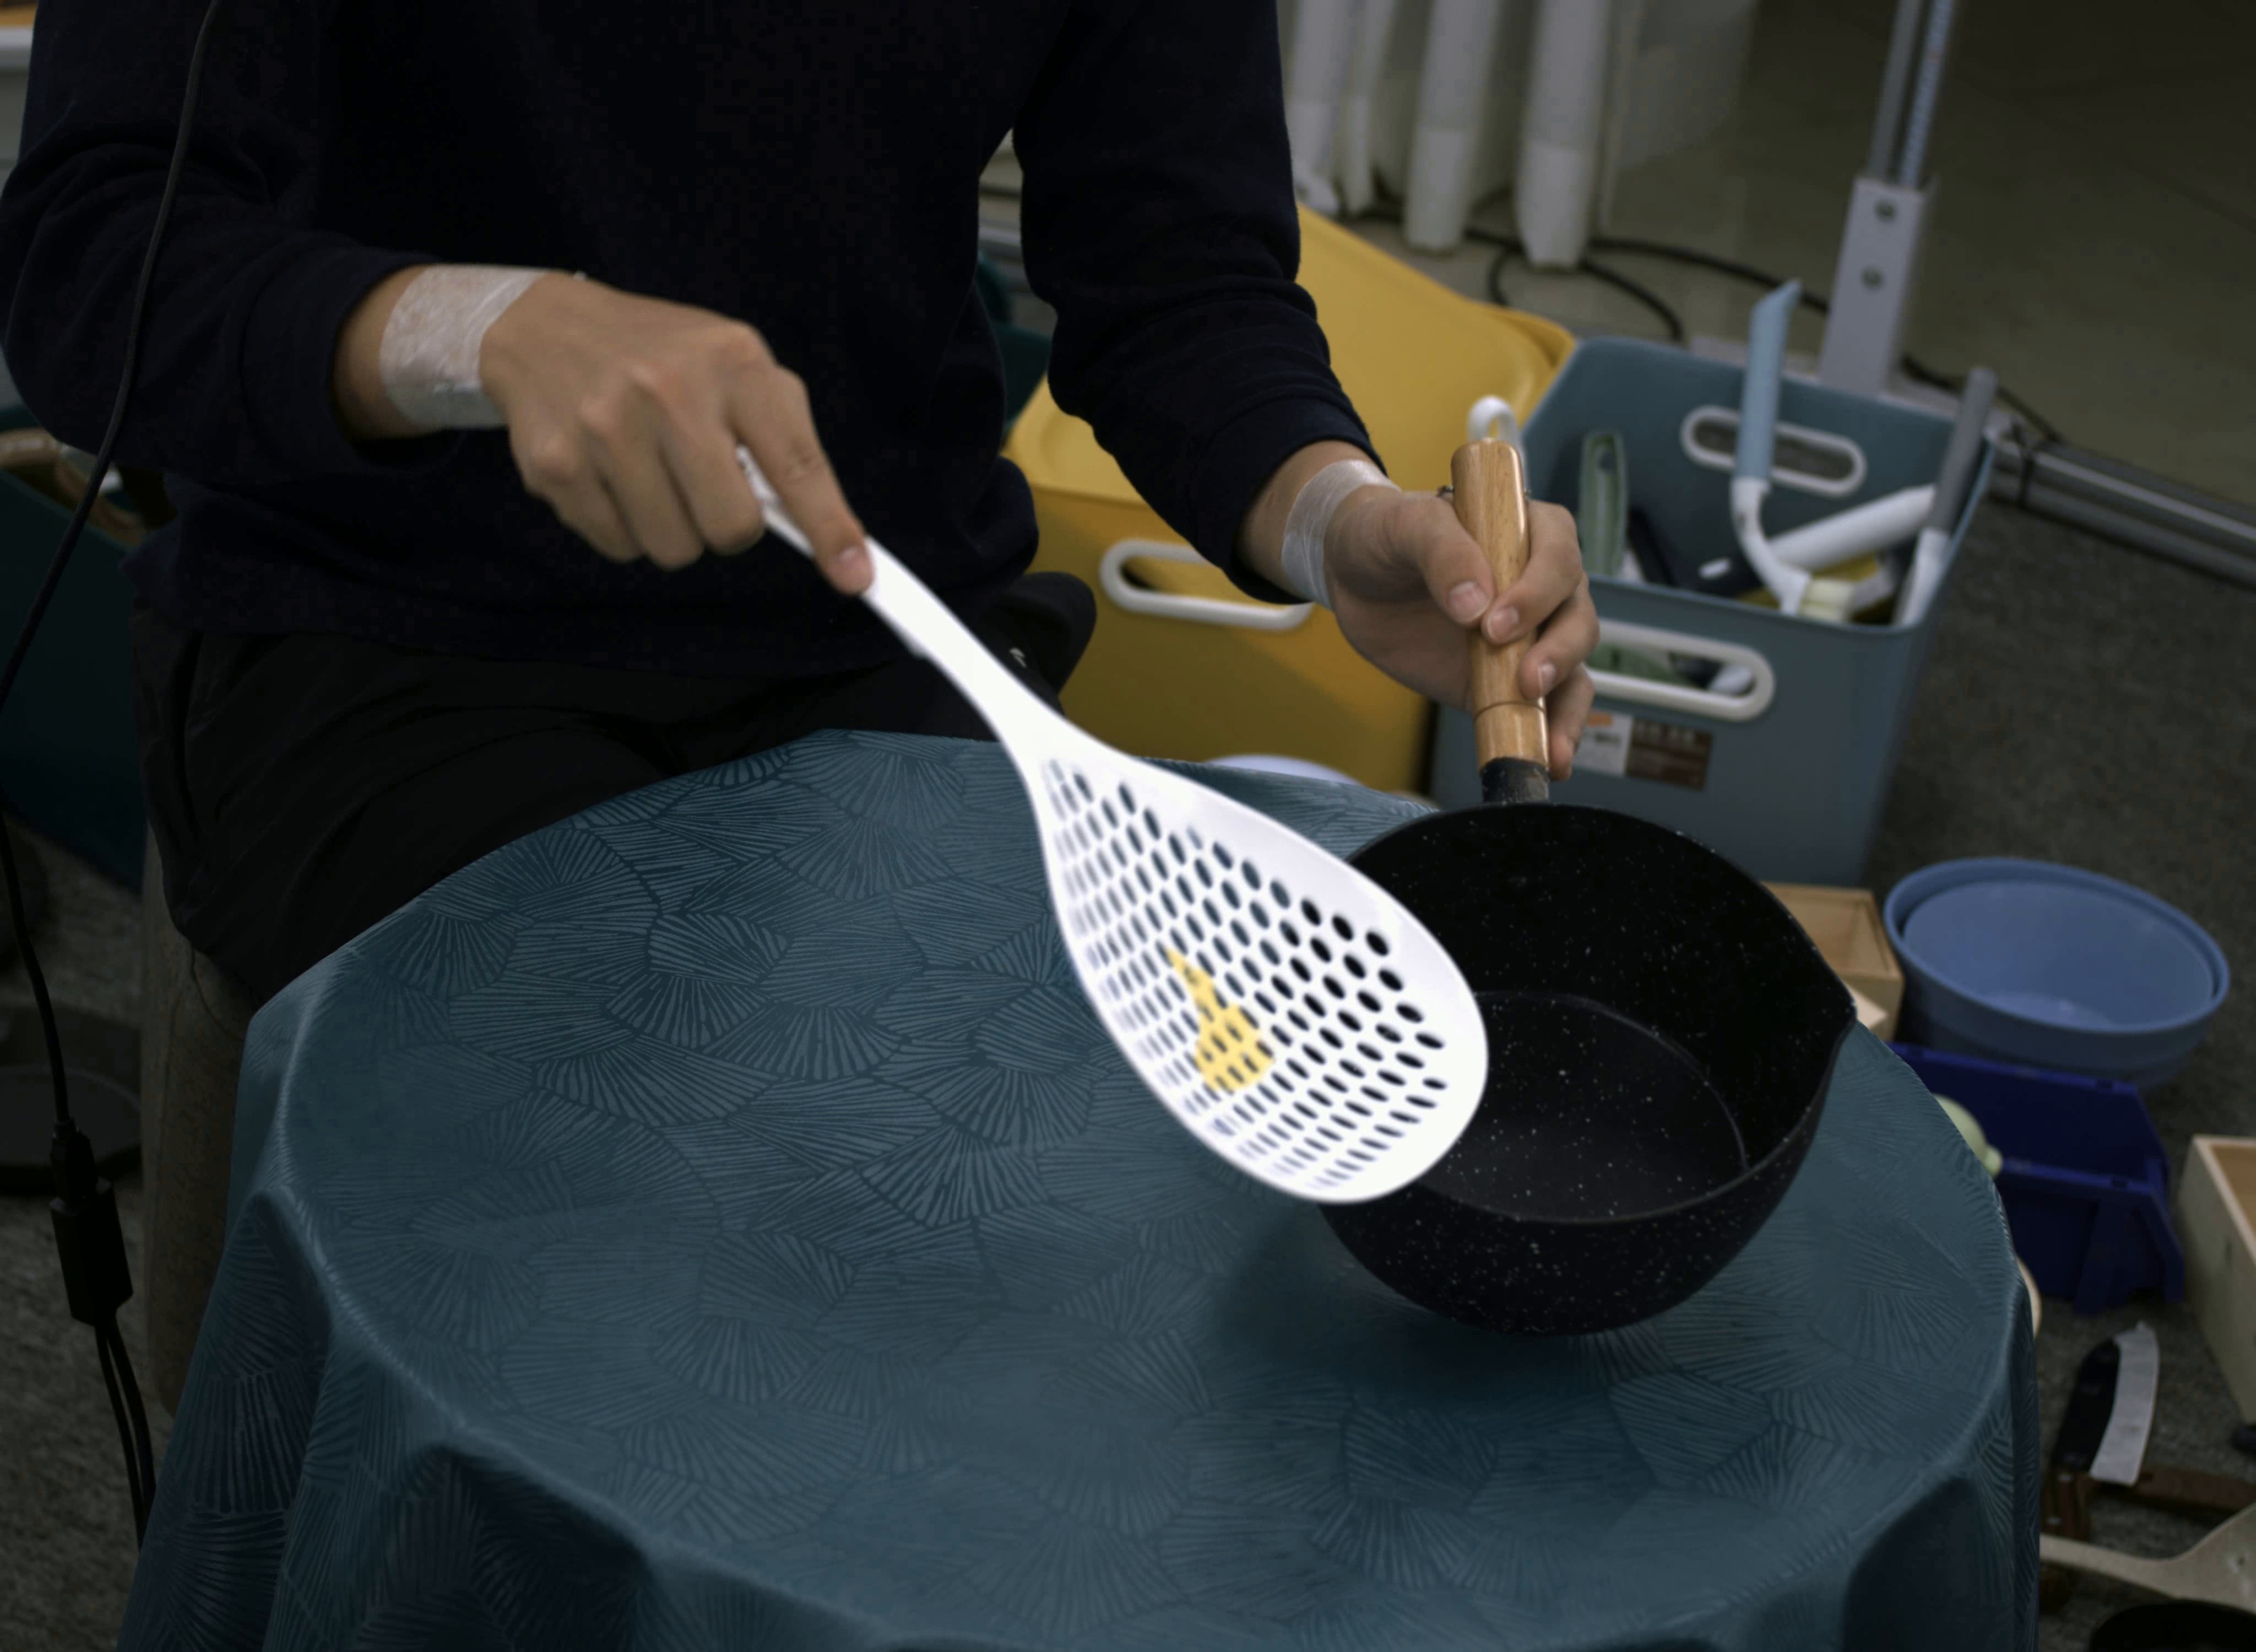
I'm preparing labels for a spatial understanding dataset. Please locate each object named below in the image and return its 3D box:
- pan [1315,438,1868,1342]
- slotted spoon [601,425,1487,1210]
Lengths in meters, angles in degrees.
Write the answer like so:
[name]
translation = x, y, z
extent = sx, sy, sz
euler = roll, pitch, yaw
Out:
[pan]
translation = 0.133, 0.021, 1.815
extent = 0.207, 0.107, 0.346
euler = -2, 48, -4
[slotted spoon]
translation = -0.032, -0.013, 1.670
extent = 0.348, 0.050, 0.136
euler = 47, 47, 4
